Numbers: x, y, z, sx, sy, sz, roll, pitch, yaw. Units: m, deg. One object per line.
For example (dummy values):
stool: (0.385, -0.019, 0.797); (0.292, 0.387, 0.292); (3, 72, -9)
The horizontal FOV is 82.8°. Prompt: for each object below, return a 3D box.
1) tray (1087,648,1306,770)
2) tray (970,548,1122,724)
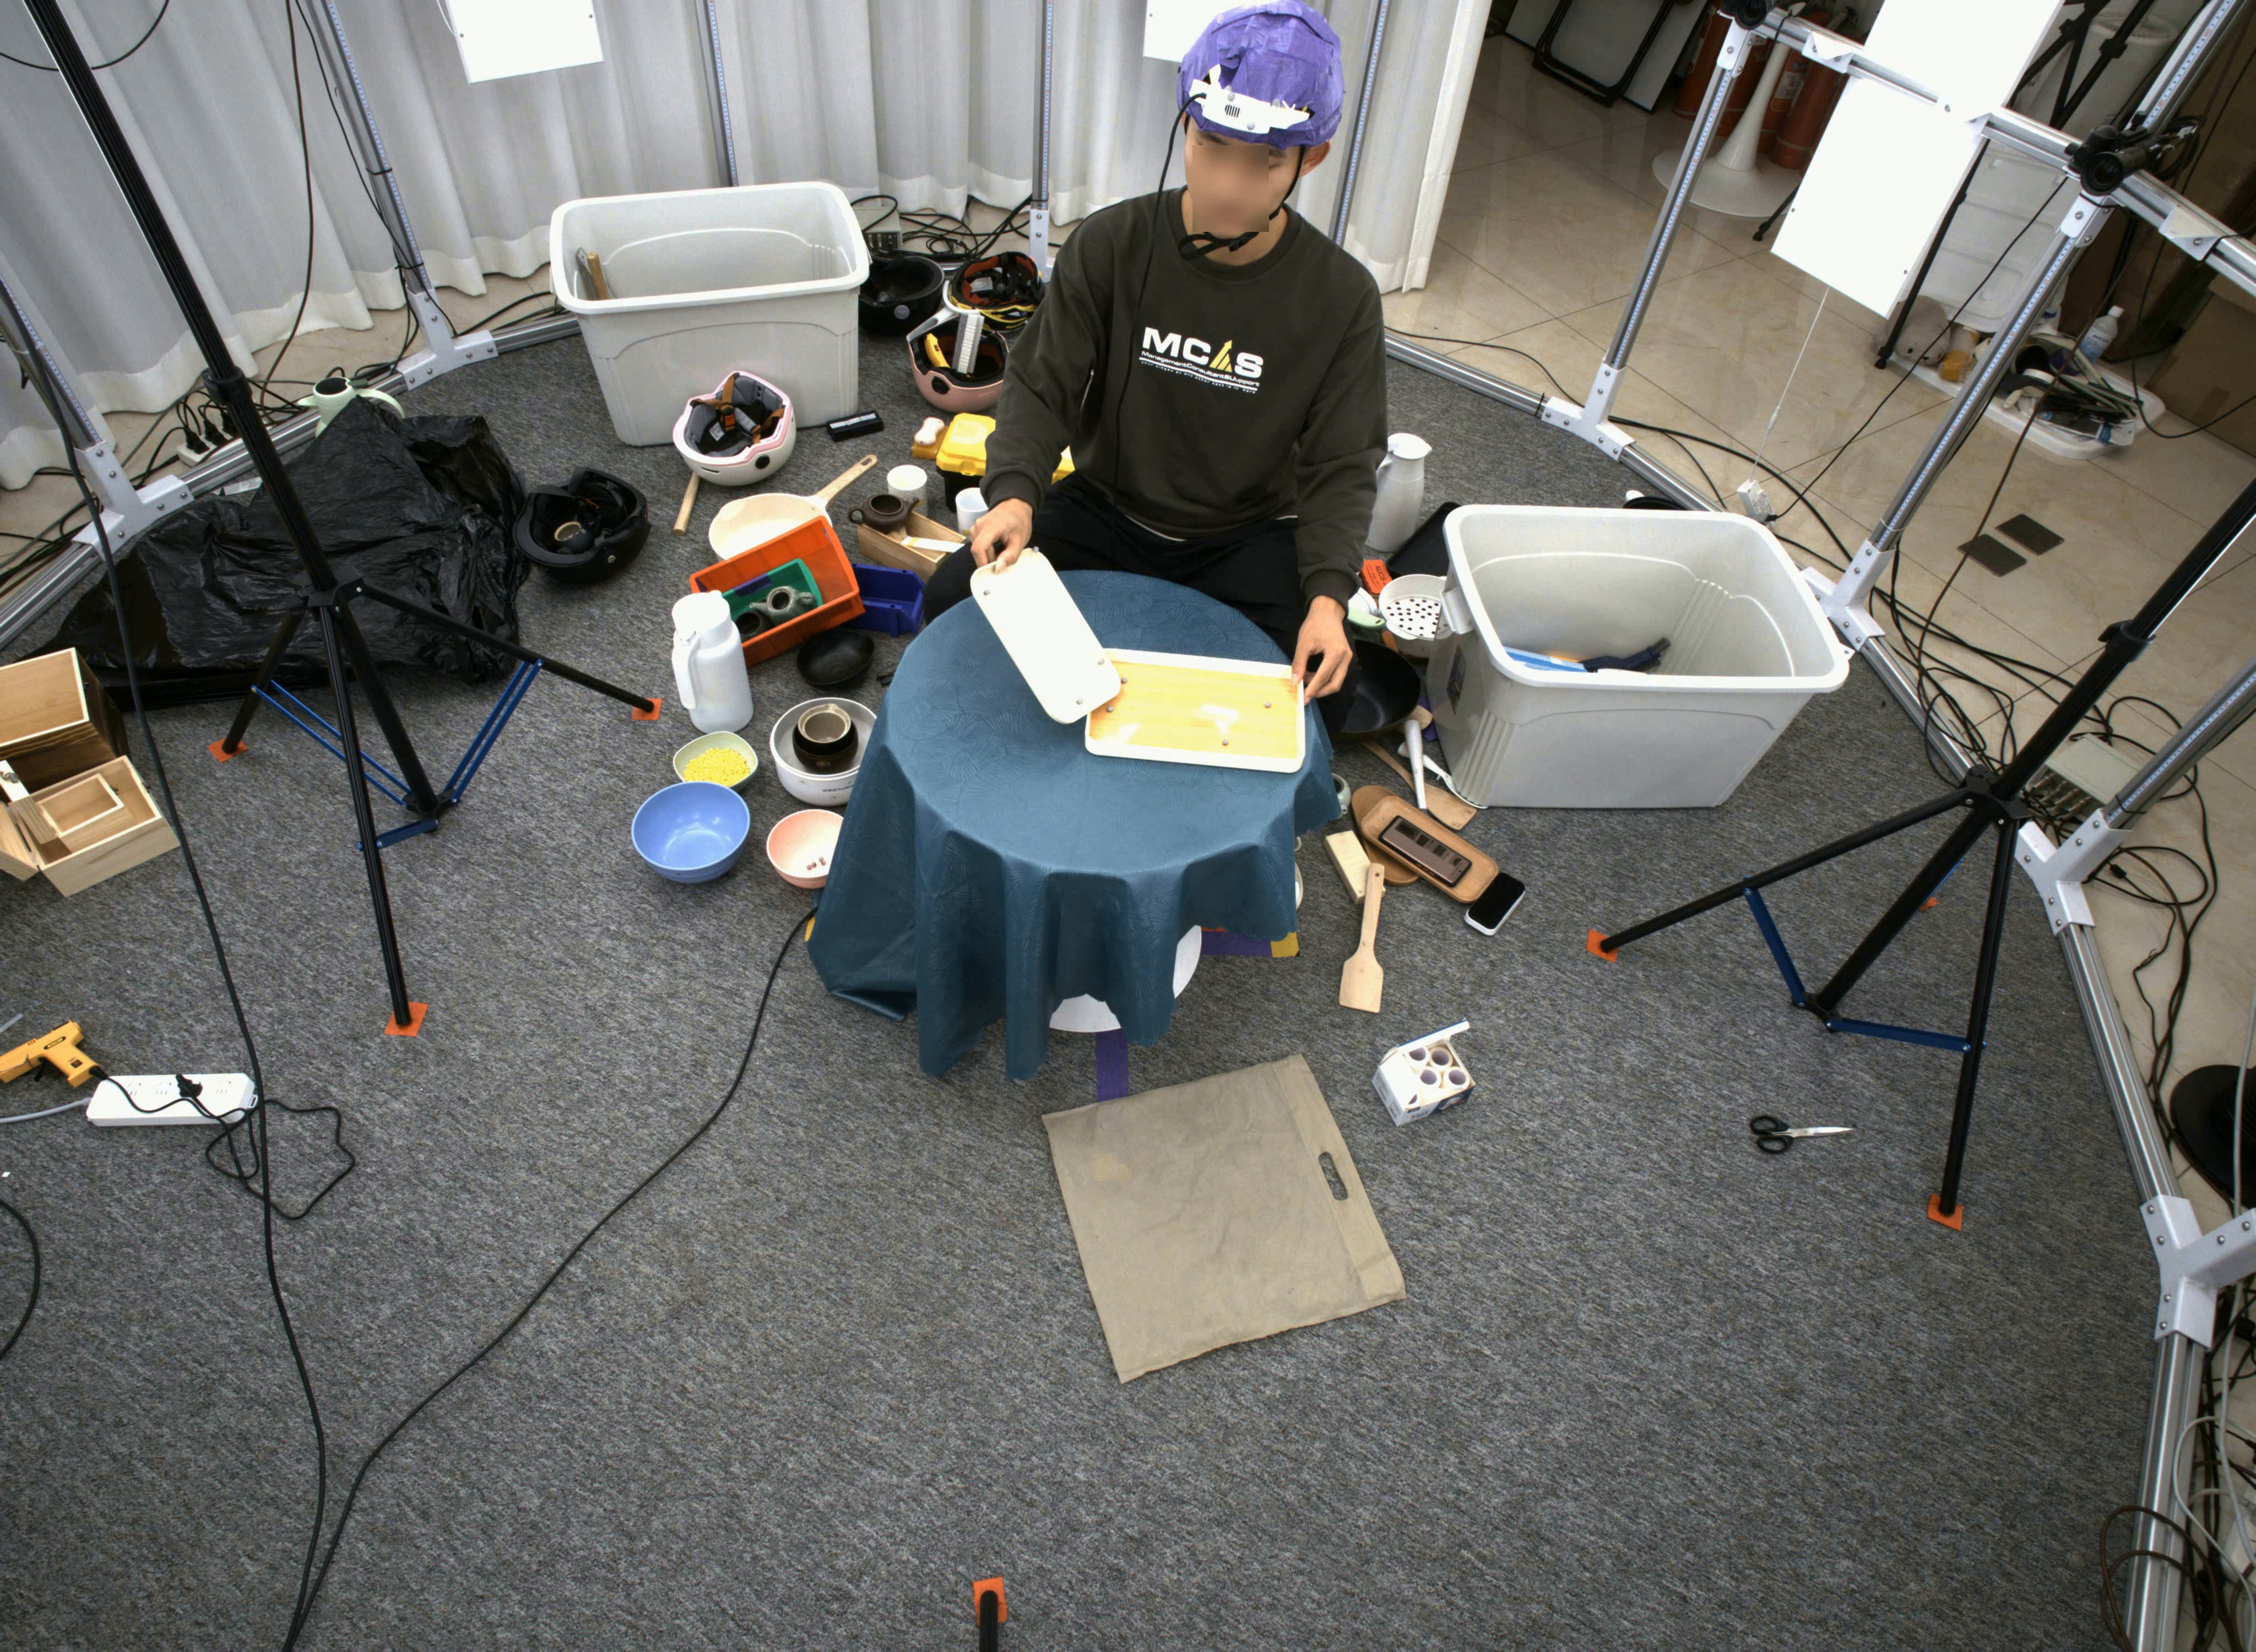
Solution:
tray: (0.097, -0.166, 1.799); (0.300, 0.027, 0.196); (5, 48, 0)
tray: (-0.111, -0.260, 1.755); (0.239, 0.017, 0.173); (57, 40, -3)
